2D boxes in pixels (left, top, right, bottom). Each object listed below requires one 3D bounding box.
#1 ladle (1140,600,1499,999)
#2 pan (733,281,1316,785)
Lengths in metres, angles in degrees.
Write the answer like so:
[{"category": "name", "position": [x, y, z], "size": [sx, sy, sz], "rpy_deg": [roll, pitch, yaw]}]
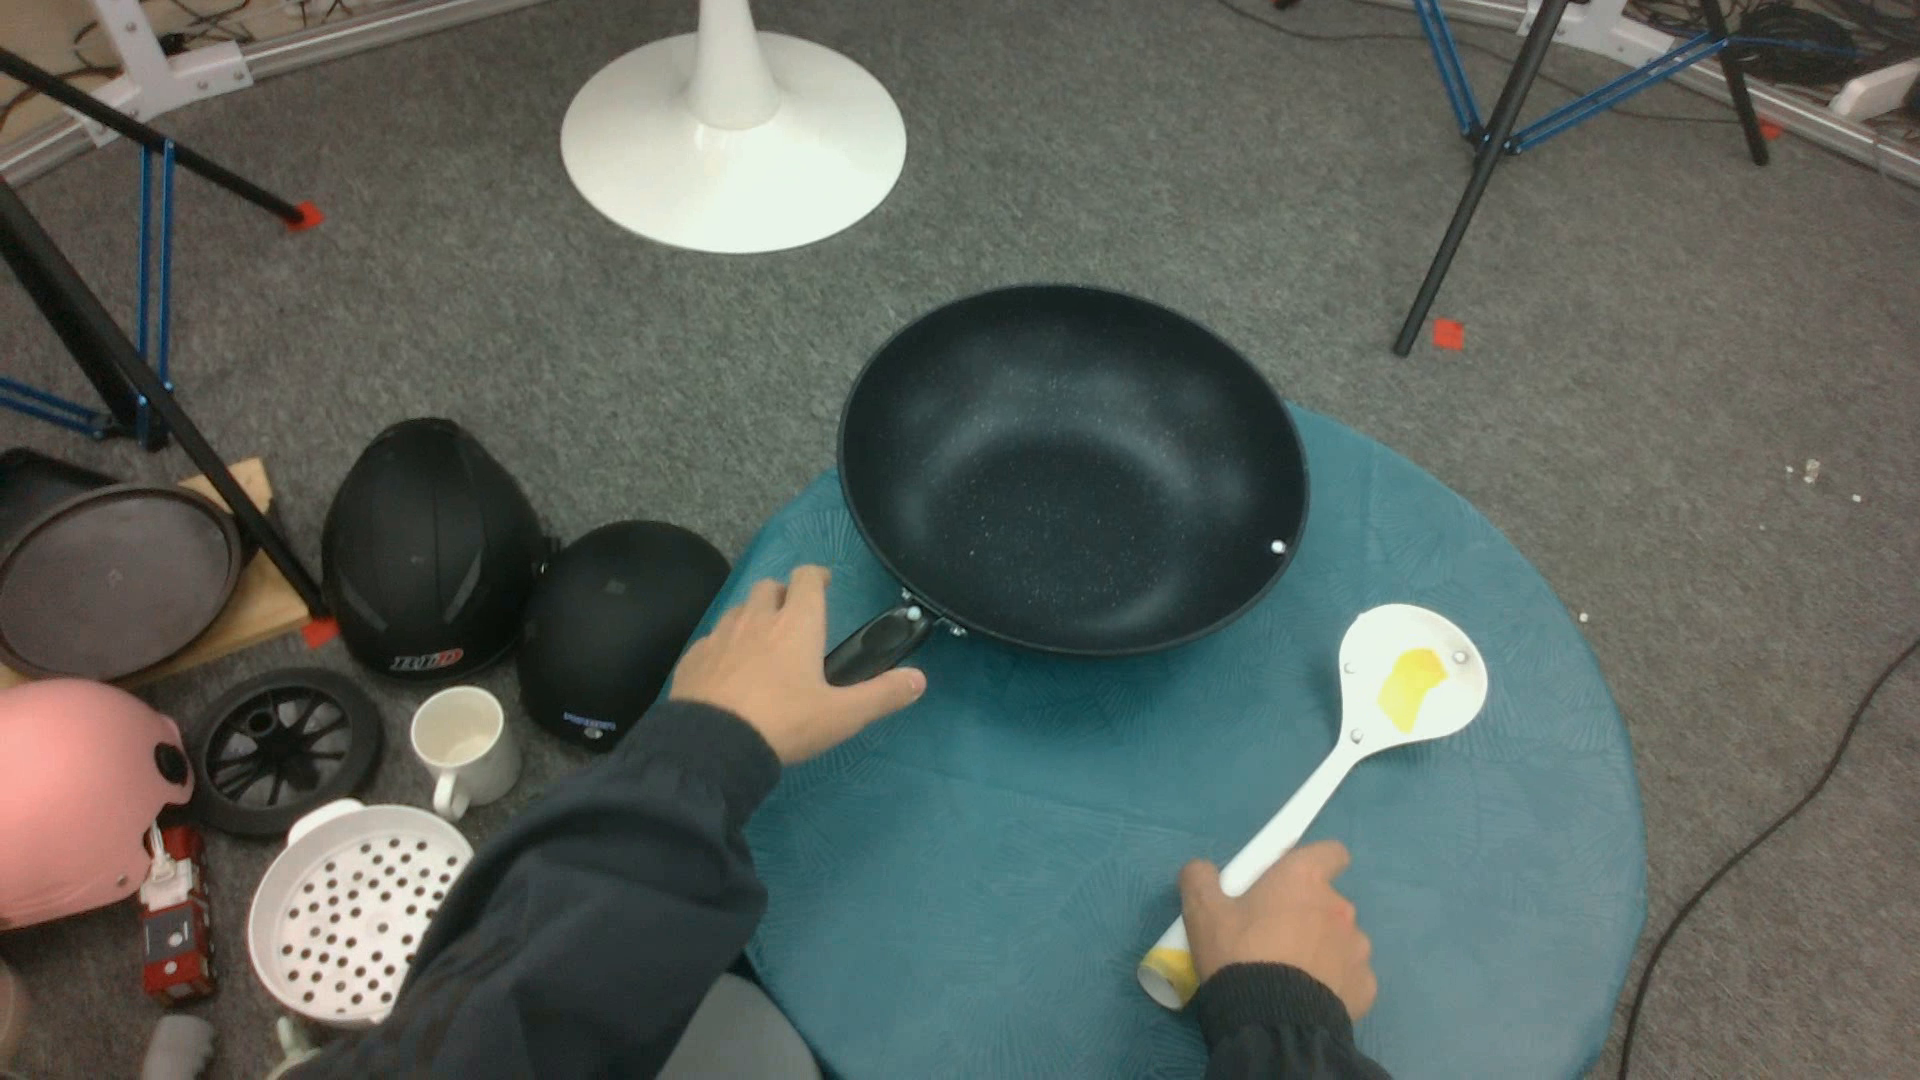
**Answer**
[{"category": "ladle", "position": [0.215, 0.154, 0.828], "size": [0.090, 0.069, 0.294], "rpy_deg": [41, 64, 17]}, {"category": "pan", "position": [0.029, 0.006, 0.892], "size": [0.310, 0.111, 0.479], "rpy_deg": [32, 58, 19]}]
